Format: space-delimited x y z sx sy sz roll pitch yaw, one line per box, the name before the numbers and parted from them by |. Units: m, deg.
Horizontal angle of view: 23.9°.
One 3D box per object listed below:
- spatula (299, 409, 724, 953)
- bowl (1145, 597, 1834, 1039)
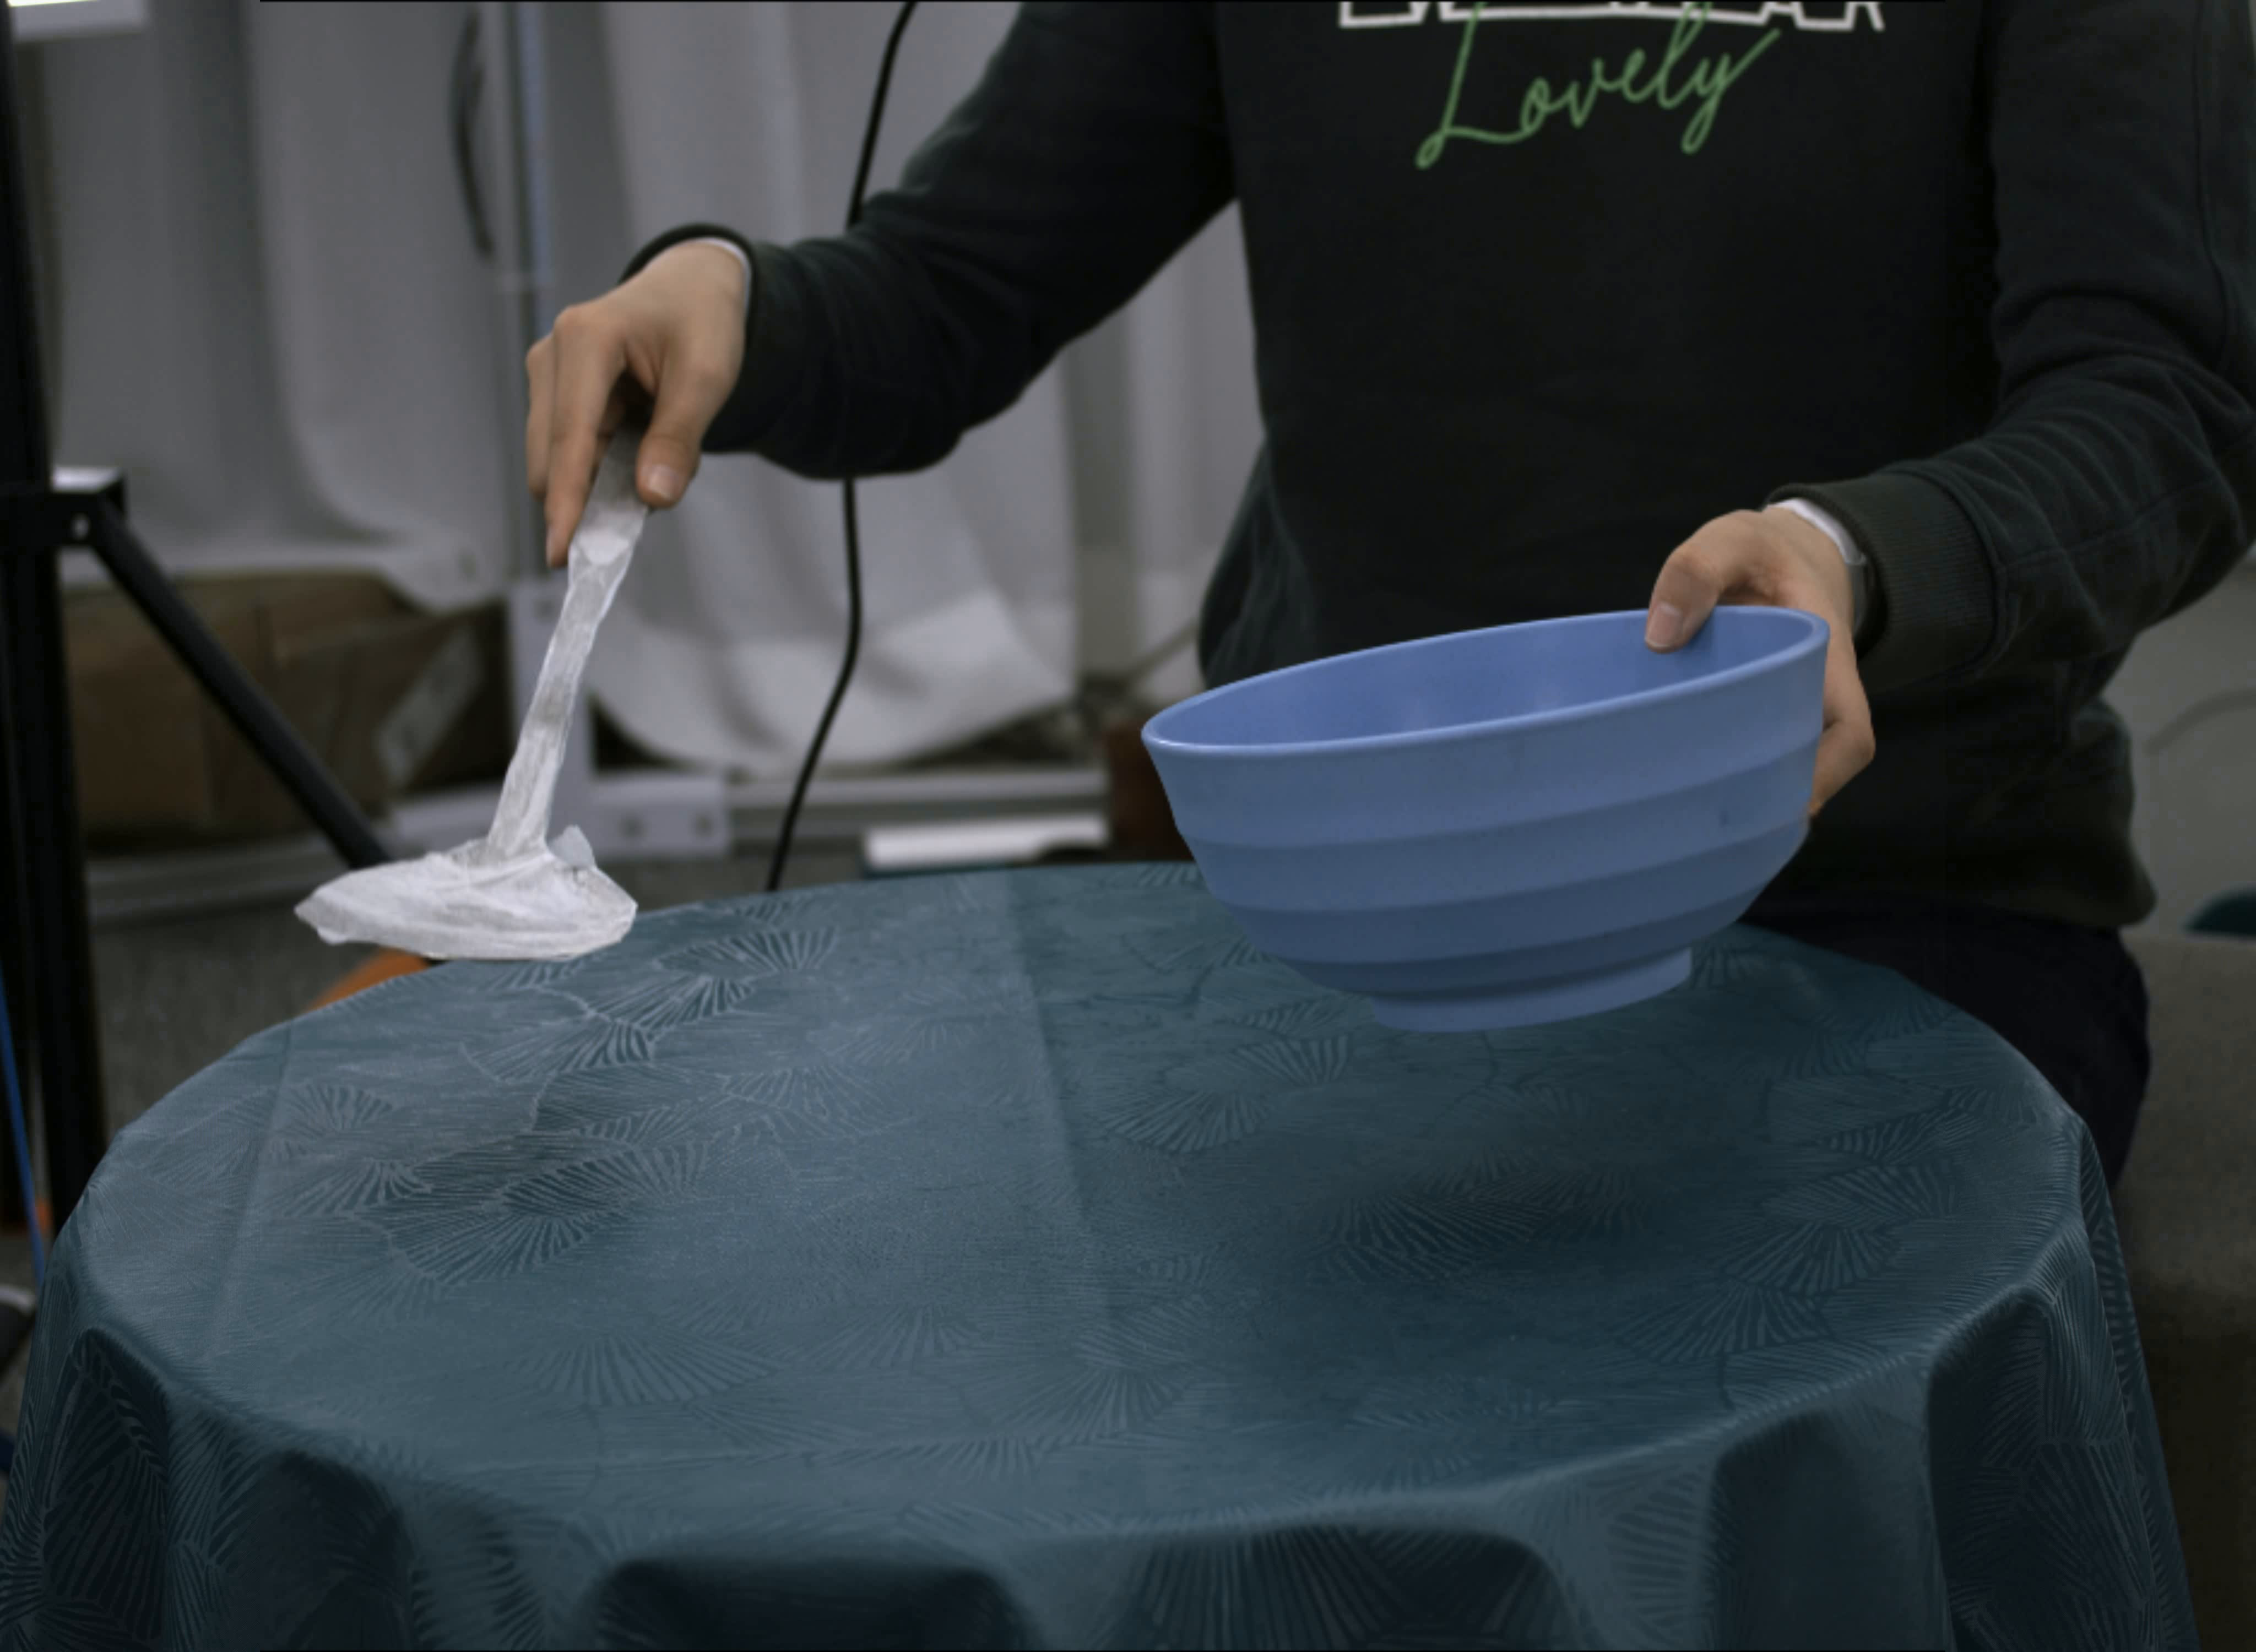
spatula | -0.175 -0.056 1.703 0.099 0.044 0.366 4 37 6
bowl | 0.109 0.003 1.500 0.195 0.095 0.197 -10 10 0
